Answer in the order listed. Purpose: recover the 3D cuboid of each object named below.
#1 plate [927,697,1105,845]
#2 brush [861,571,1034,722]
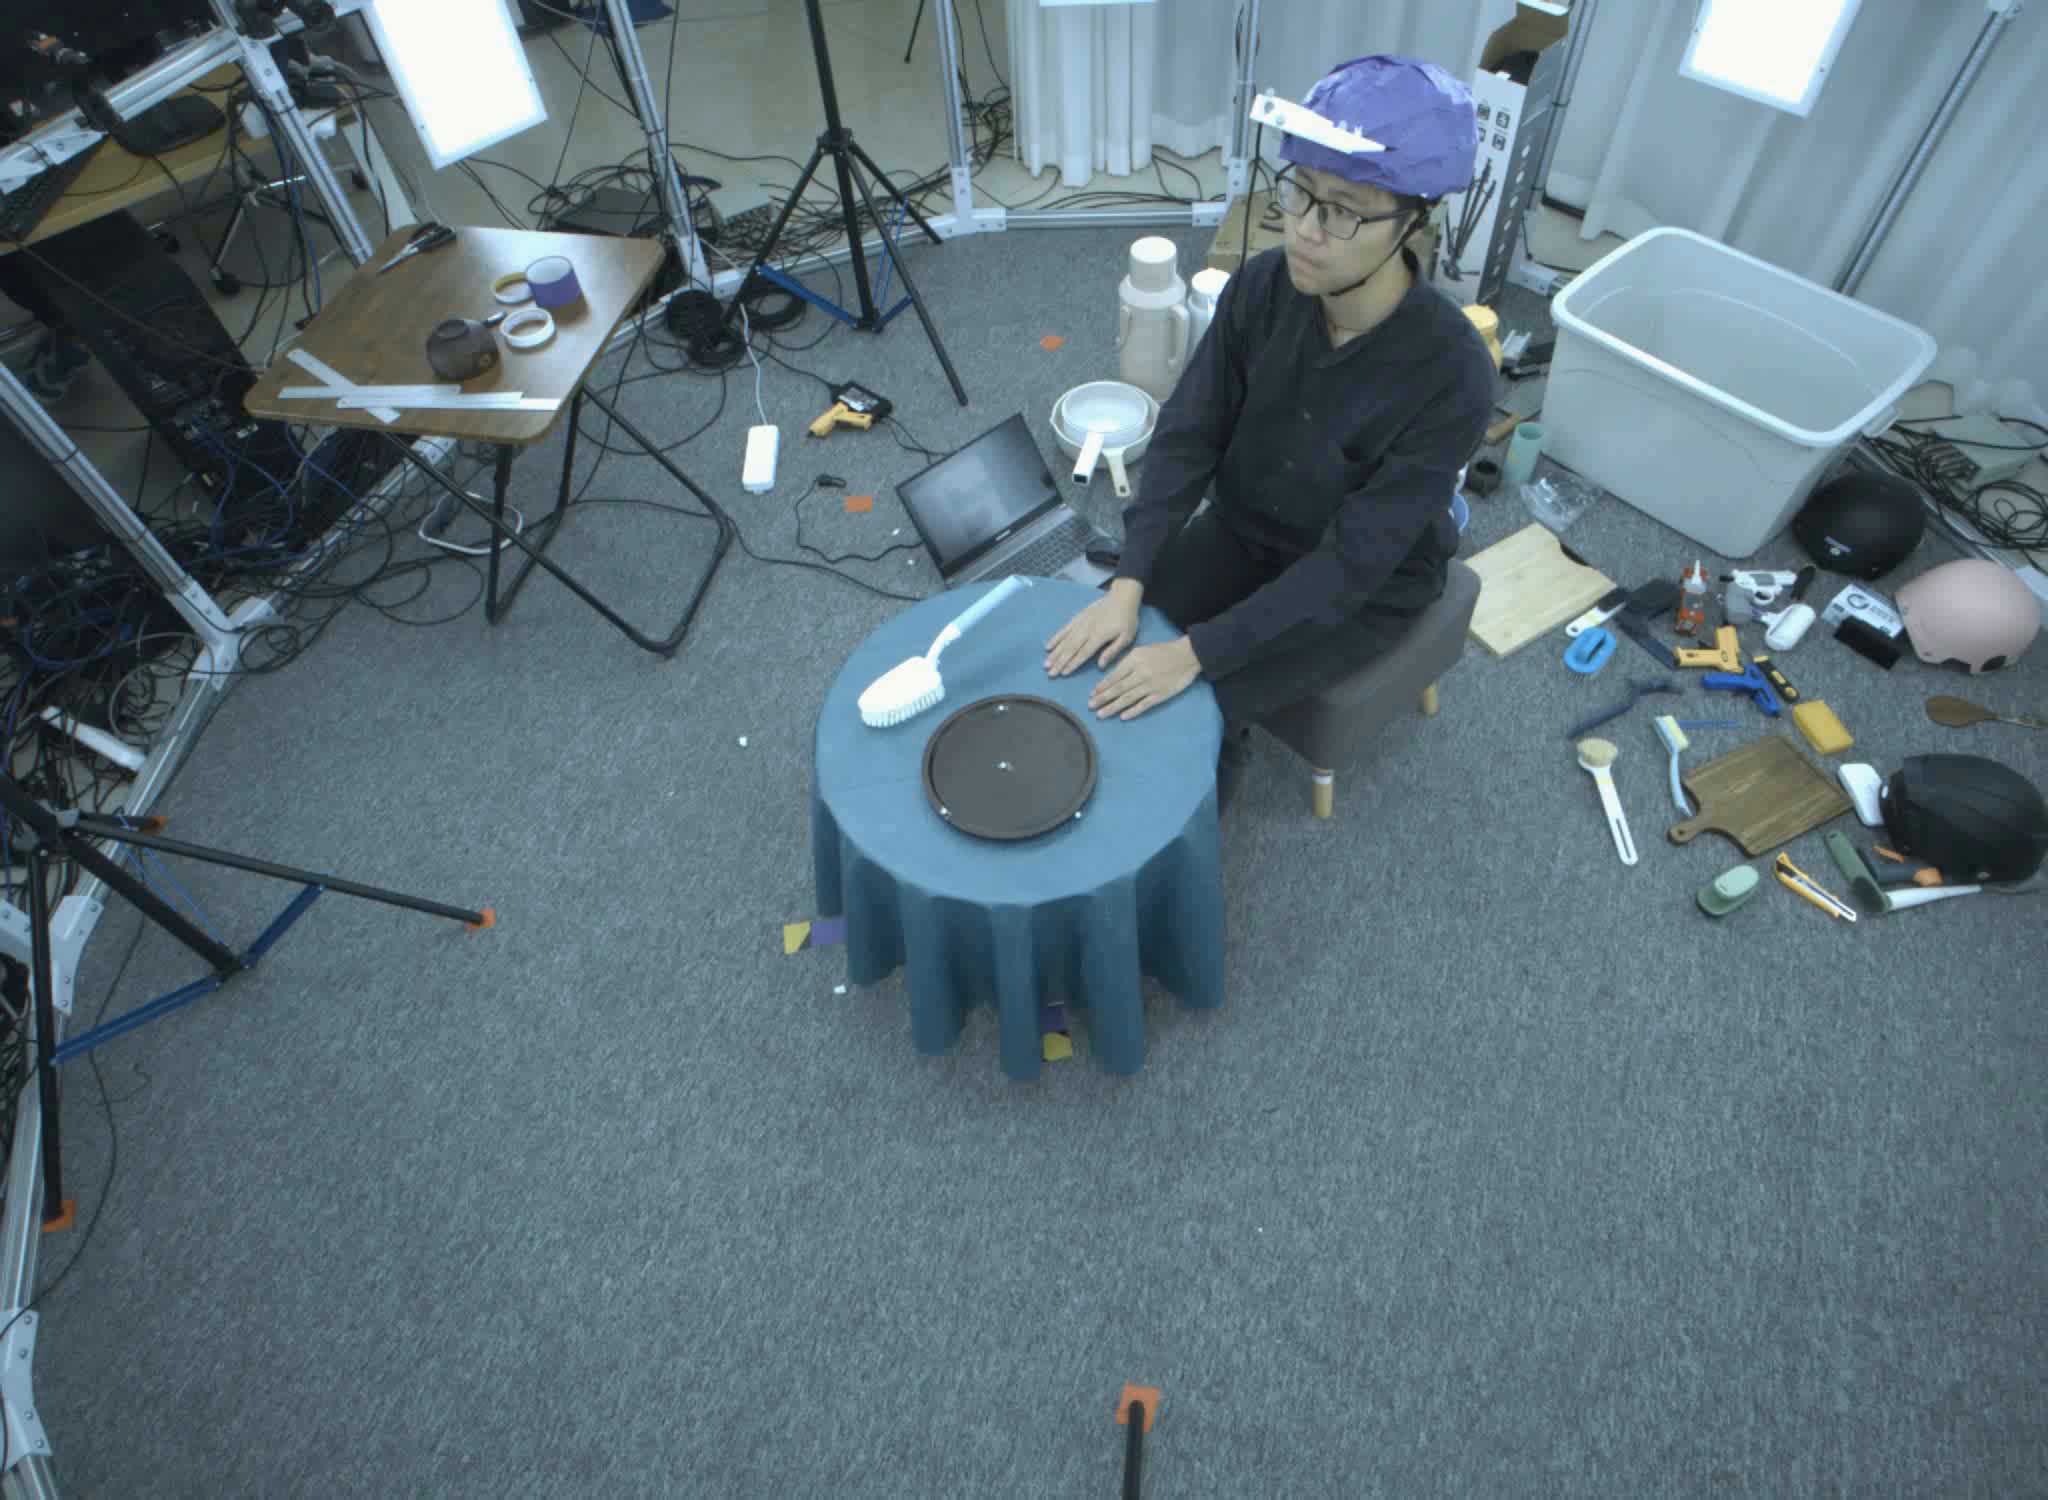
[{"bbox_3d":[-0.012,0.029,1.752,0.254,0.029,0.252,-1,53,3],"label":"plate"},{"bbox_3d":[-0.105,-0.146,1.844,0.326,0.084,0.083,-39,98,-9],"label":"brush"}]
